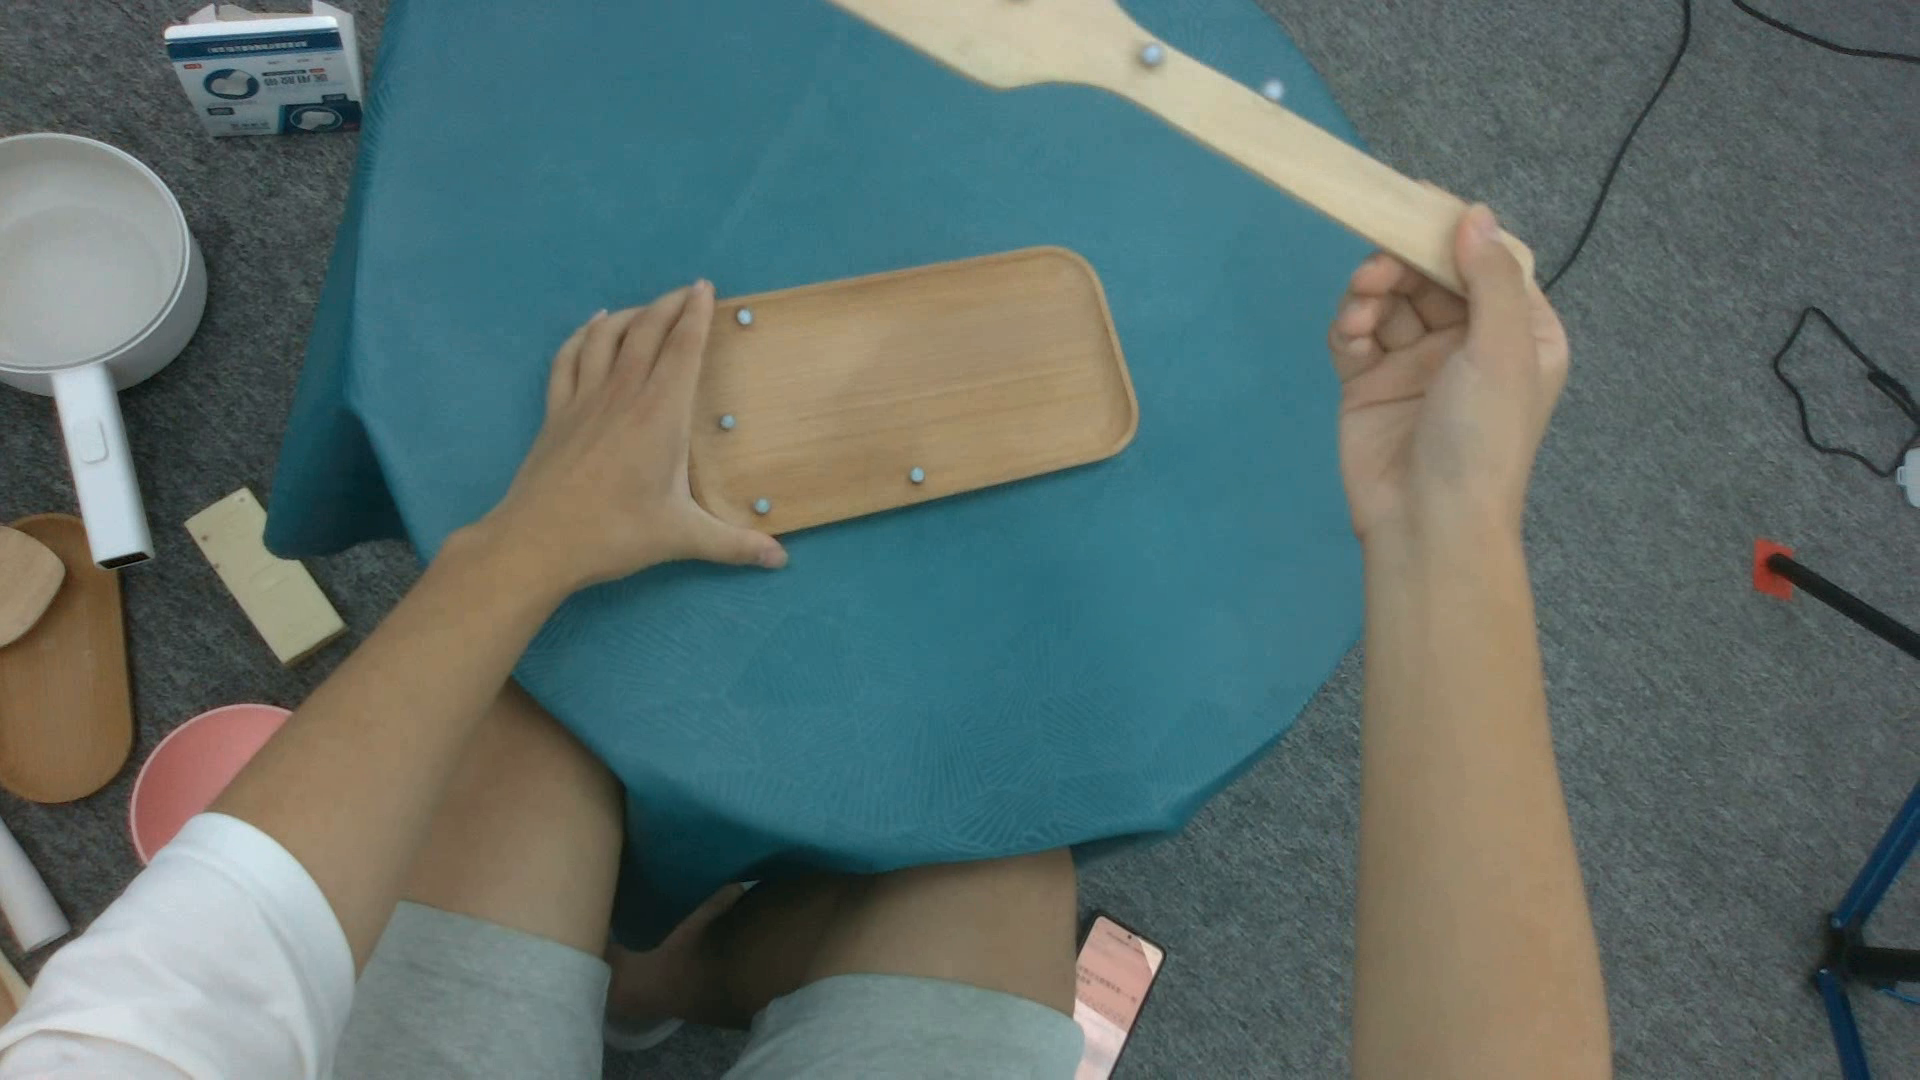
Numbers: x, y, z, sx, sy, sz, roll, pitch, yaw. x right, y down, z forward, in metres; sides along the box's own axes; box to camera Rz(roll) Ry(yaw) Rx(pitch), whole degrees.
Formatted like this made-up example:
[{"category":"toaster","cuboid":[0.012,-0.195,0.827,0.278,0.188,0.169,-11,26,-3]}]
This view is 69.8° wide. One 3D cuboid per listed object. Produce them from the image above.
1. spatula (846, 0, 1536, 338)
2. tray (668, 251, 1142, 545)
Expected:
[{"category":"spatula","cuboid":[0.098,-0.160,0.534,0.293,0.010,0.072,29,84,-4]},{"category":"tray","cuboid":[-0.026,-0.080,0.750,0.251,0.023,0.130,-13,83,-18]}]
